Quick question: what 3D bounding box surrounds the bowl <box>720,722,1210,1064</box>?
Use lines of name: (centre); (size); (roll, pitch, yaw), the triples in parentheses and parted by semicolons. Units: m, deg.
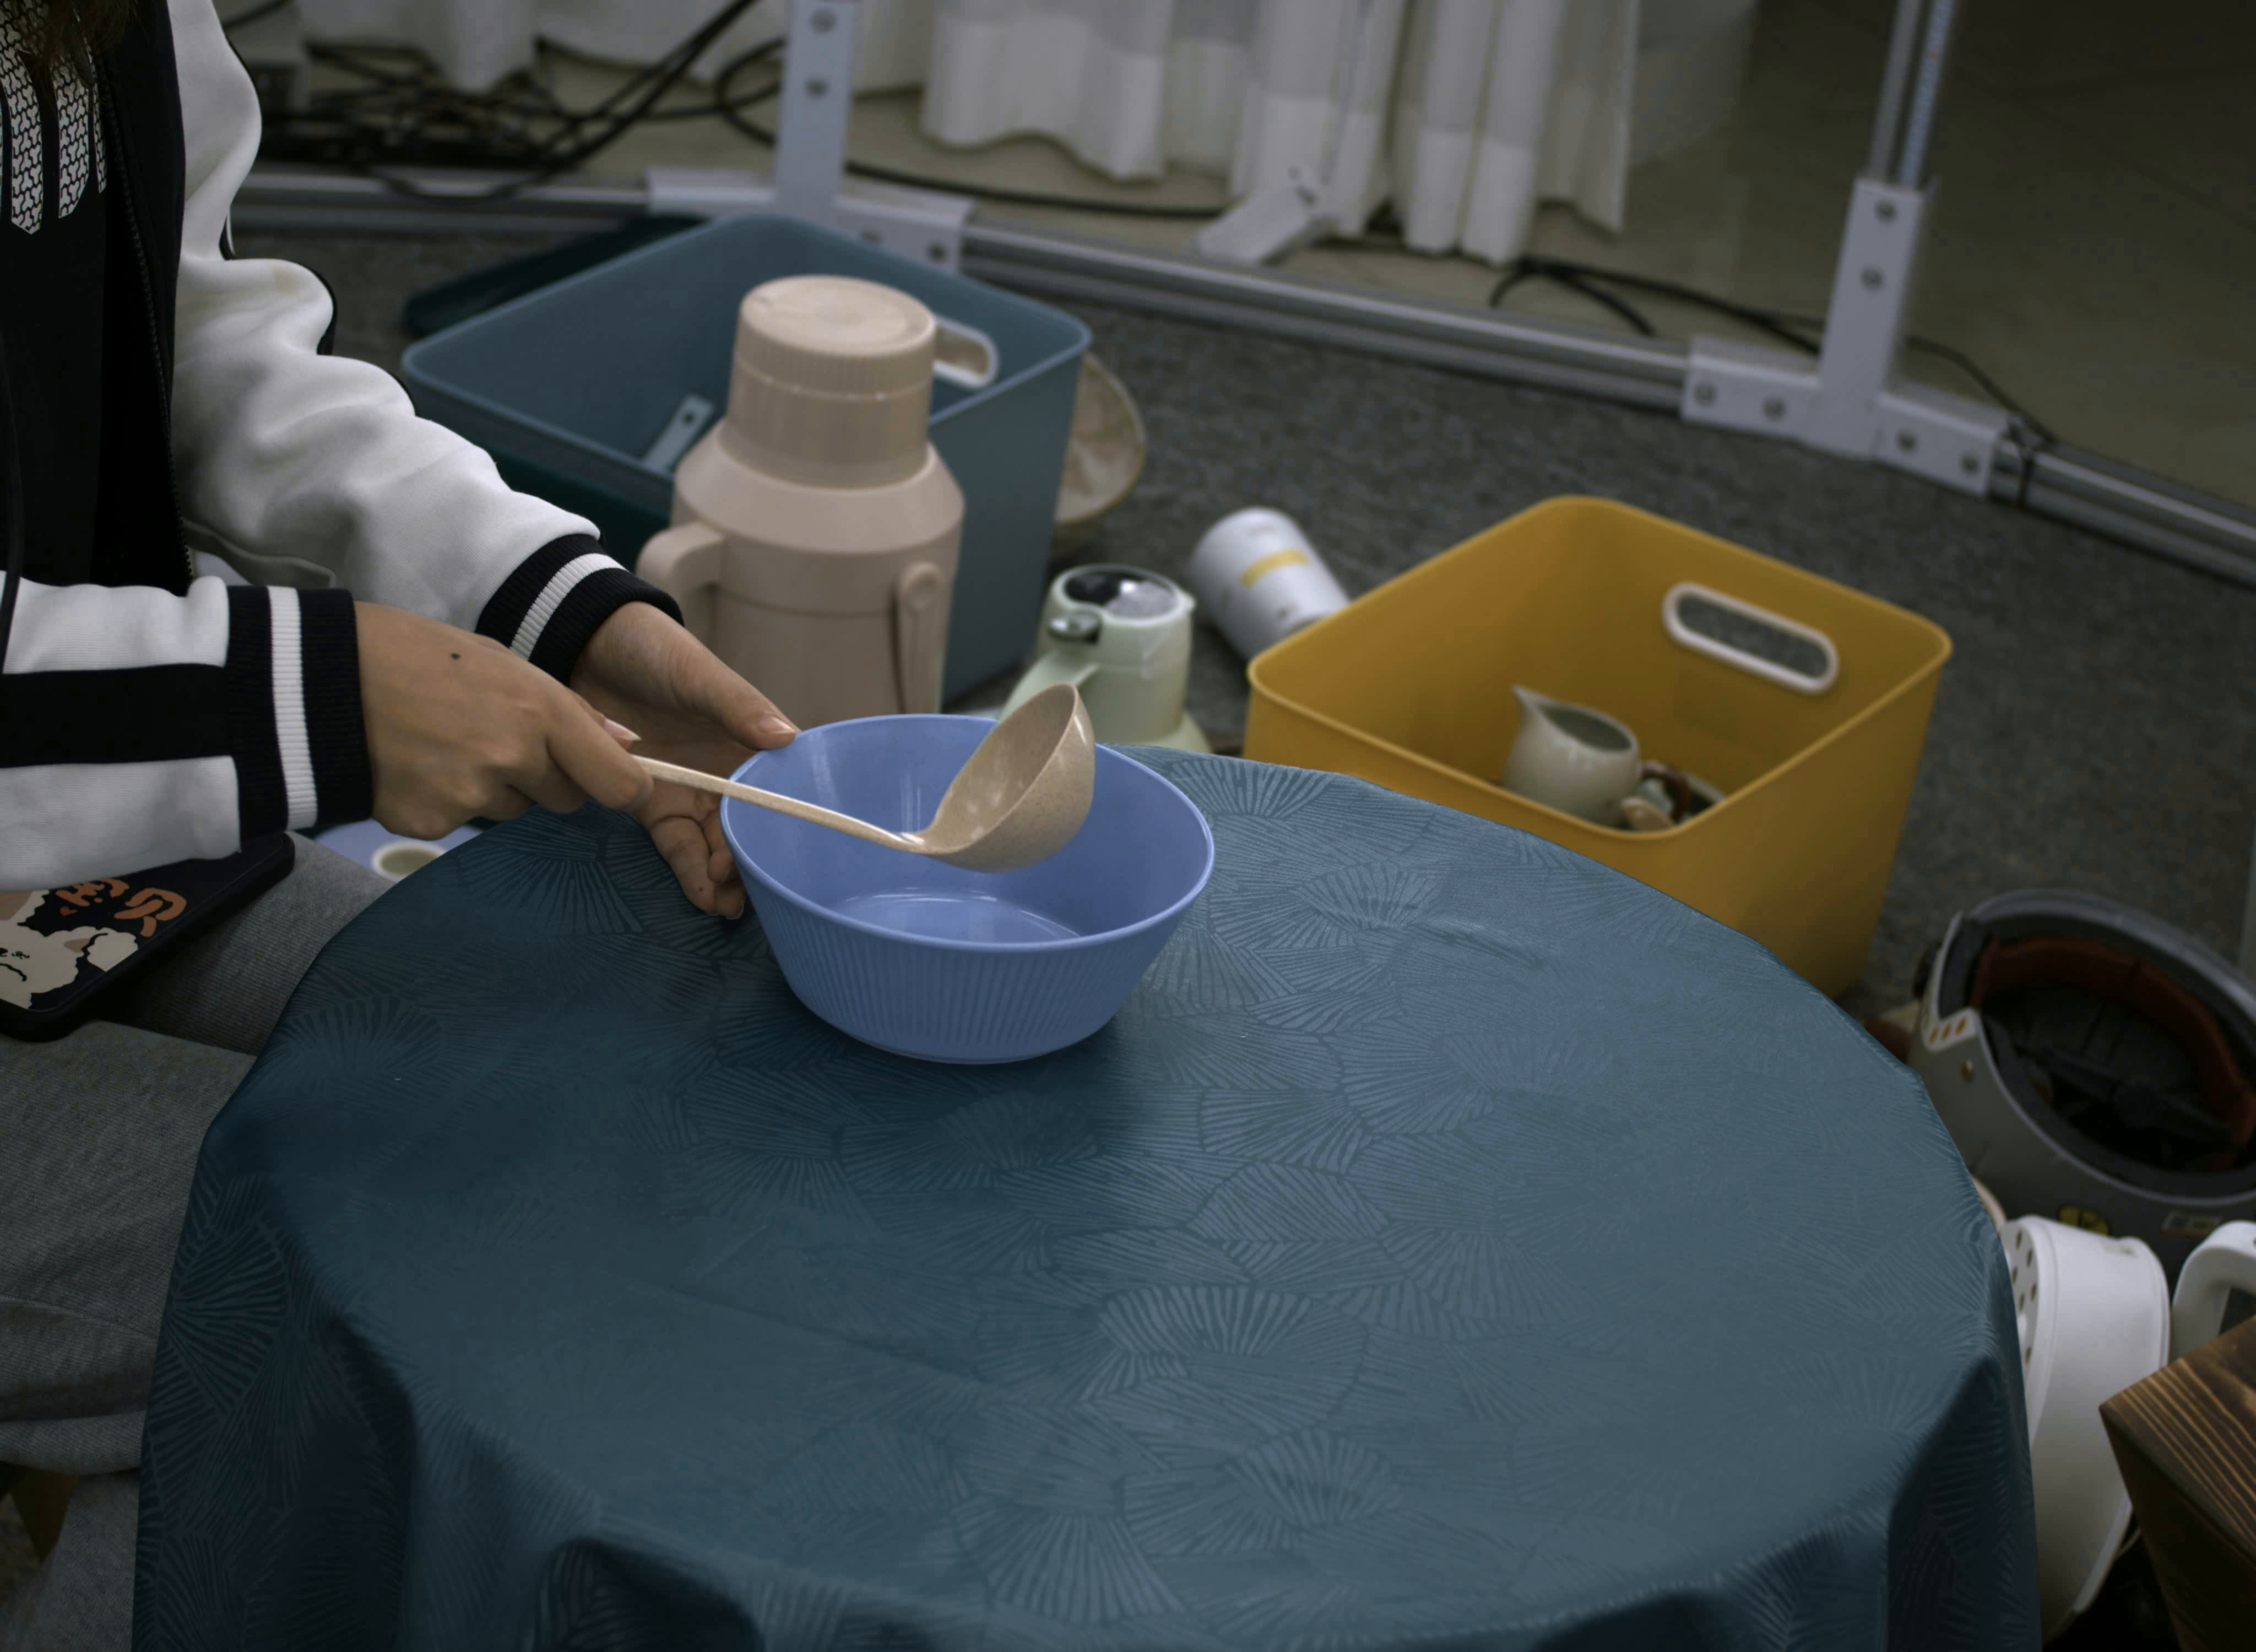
bowl: (-0.061, 0.029, 1.897); (0.175, 0.070, 0.177); (6, 26, -3)

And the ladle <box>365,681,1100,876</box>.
ladle: (-0.132, -0.037, 1.827); (0.252, 0.073, 0.072); (12, 5, -20)
